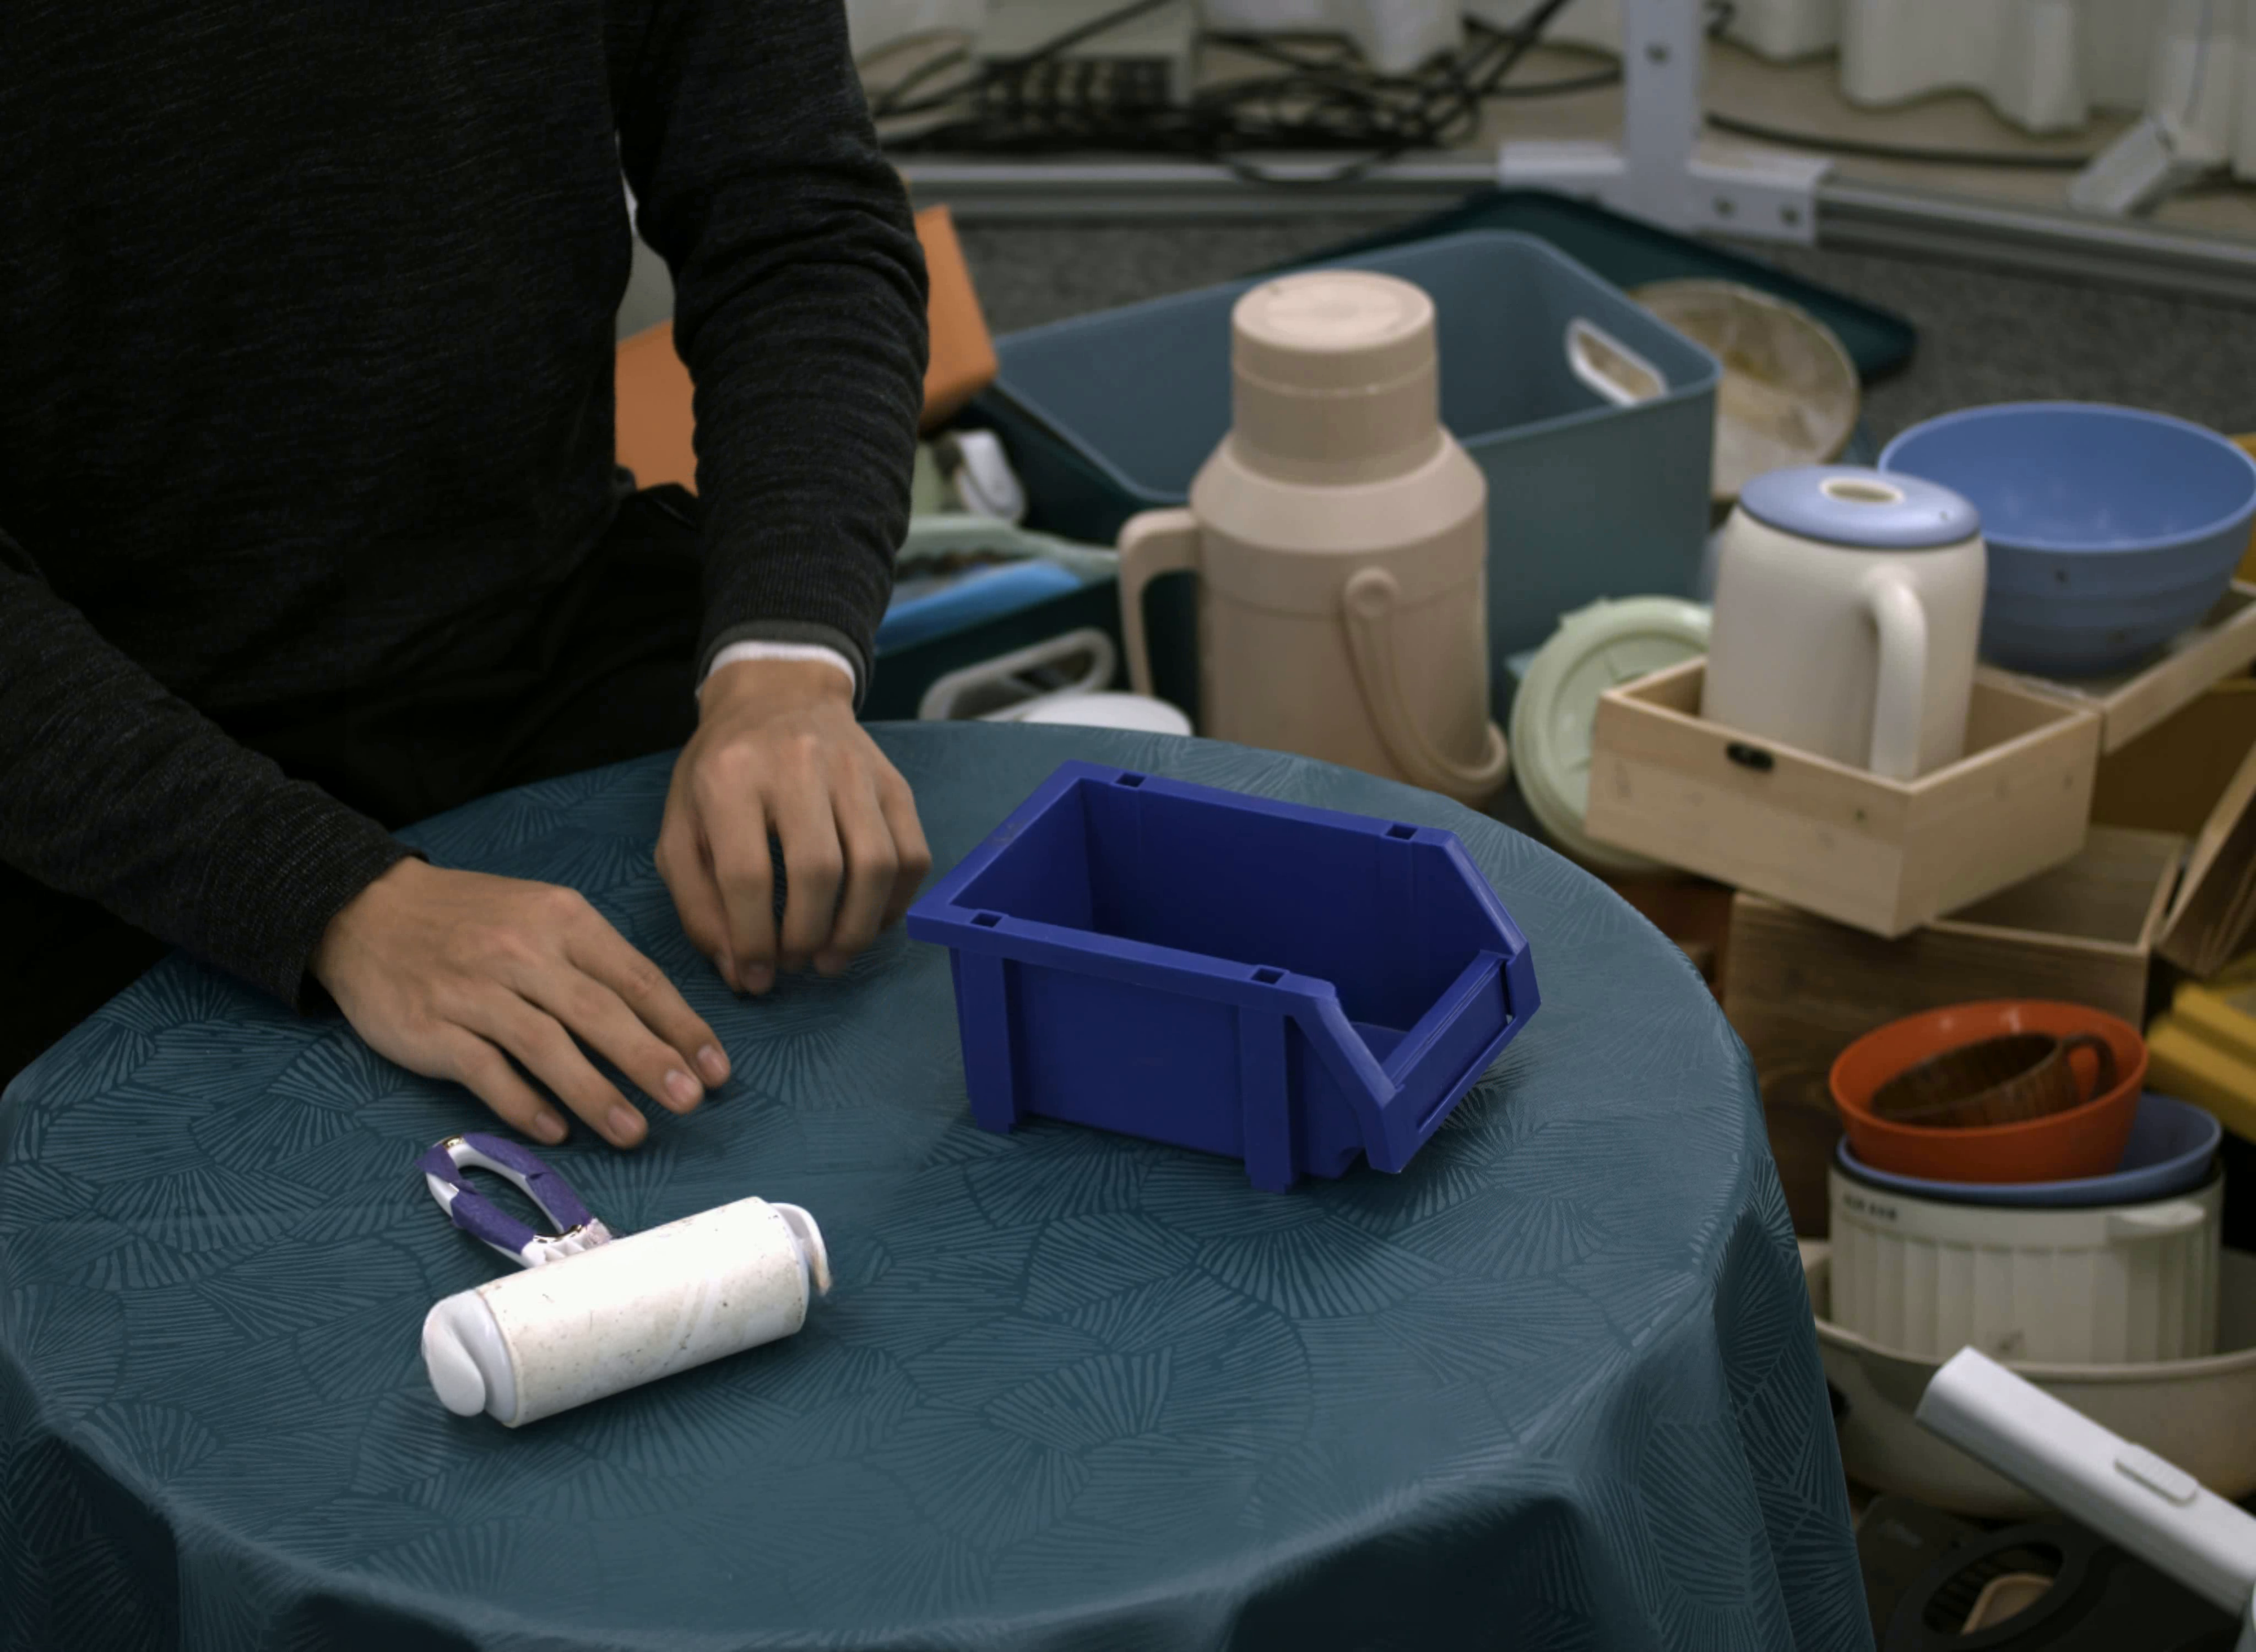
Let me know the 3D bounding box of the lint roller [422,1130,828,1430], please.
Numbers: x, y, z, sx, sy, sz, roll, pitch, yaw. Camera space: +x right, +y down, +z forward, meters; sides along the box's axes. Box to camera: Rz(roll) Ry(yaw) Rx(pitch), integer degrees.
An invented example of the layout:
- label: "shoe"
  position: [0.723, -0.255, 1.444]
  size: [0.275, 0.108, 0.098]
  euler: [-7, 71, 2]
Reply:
- label: "lint roller"
  position: [-0.186, 0.127, 1.819]
  size: [0.133, 0.049, 0.182]
  euler: [-17, 32, -22]

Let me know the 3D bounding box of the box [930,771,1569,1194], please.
- label: "box"
  position: [0.043, 0.053, 1.902]
  size: [0.178, 0.081, 0.126]
  euler: [8, 29, 27]
